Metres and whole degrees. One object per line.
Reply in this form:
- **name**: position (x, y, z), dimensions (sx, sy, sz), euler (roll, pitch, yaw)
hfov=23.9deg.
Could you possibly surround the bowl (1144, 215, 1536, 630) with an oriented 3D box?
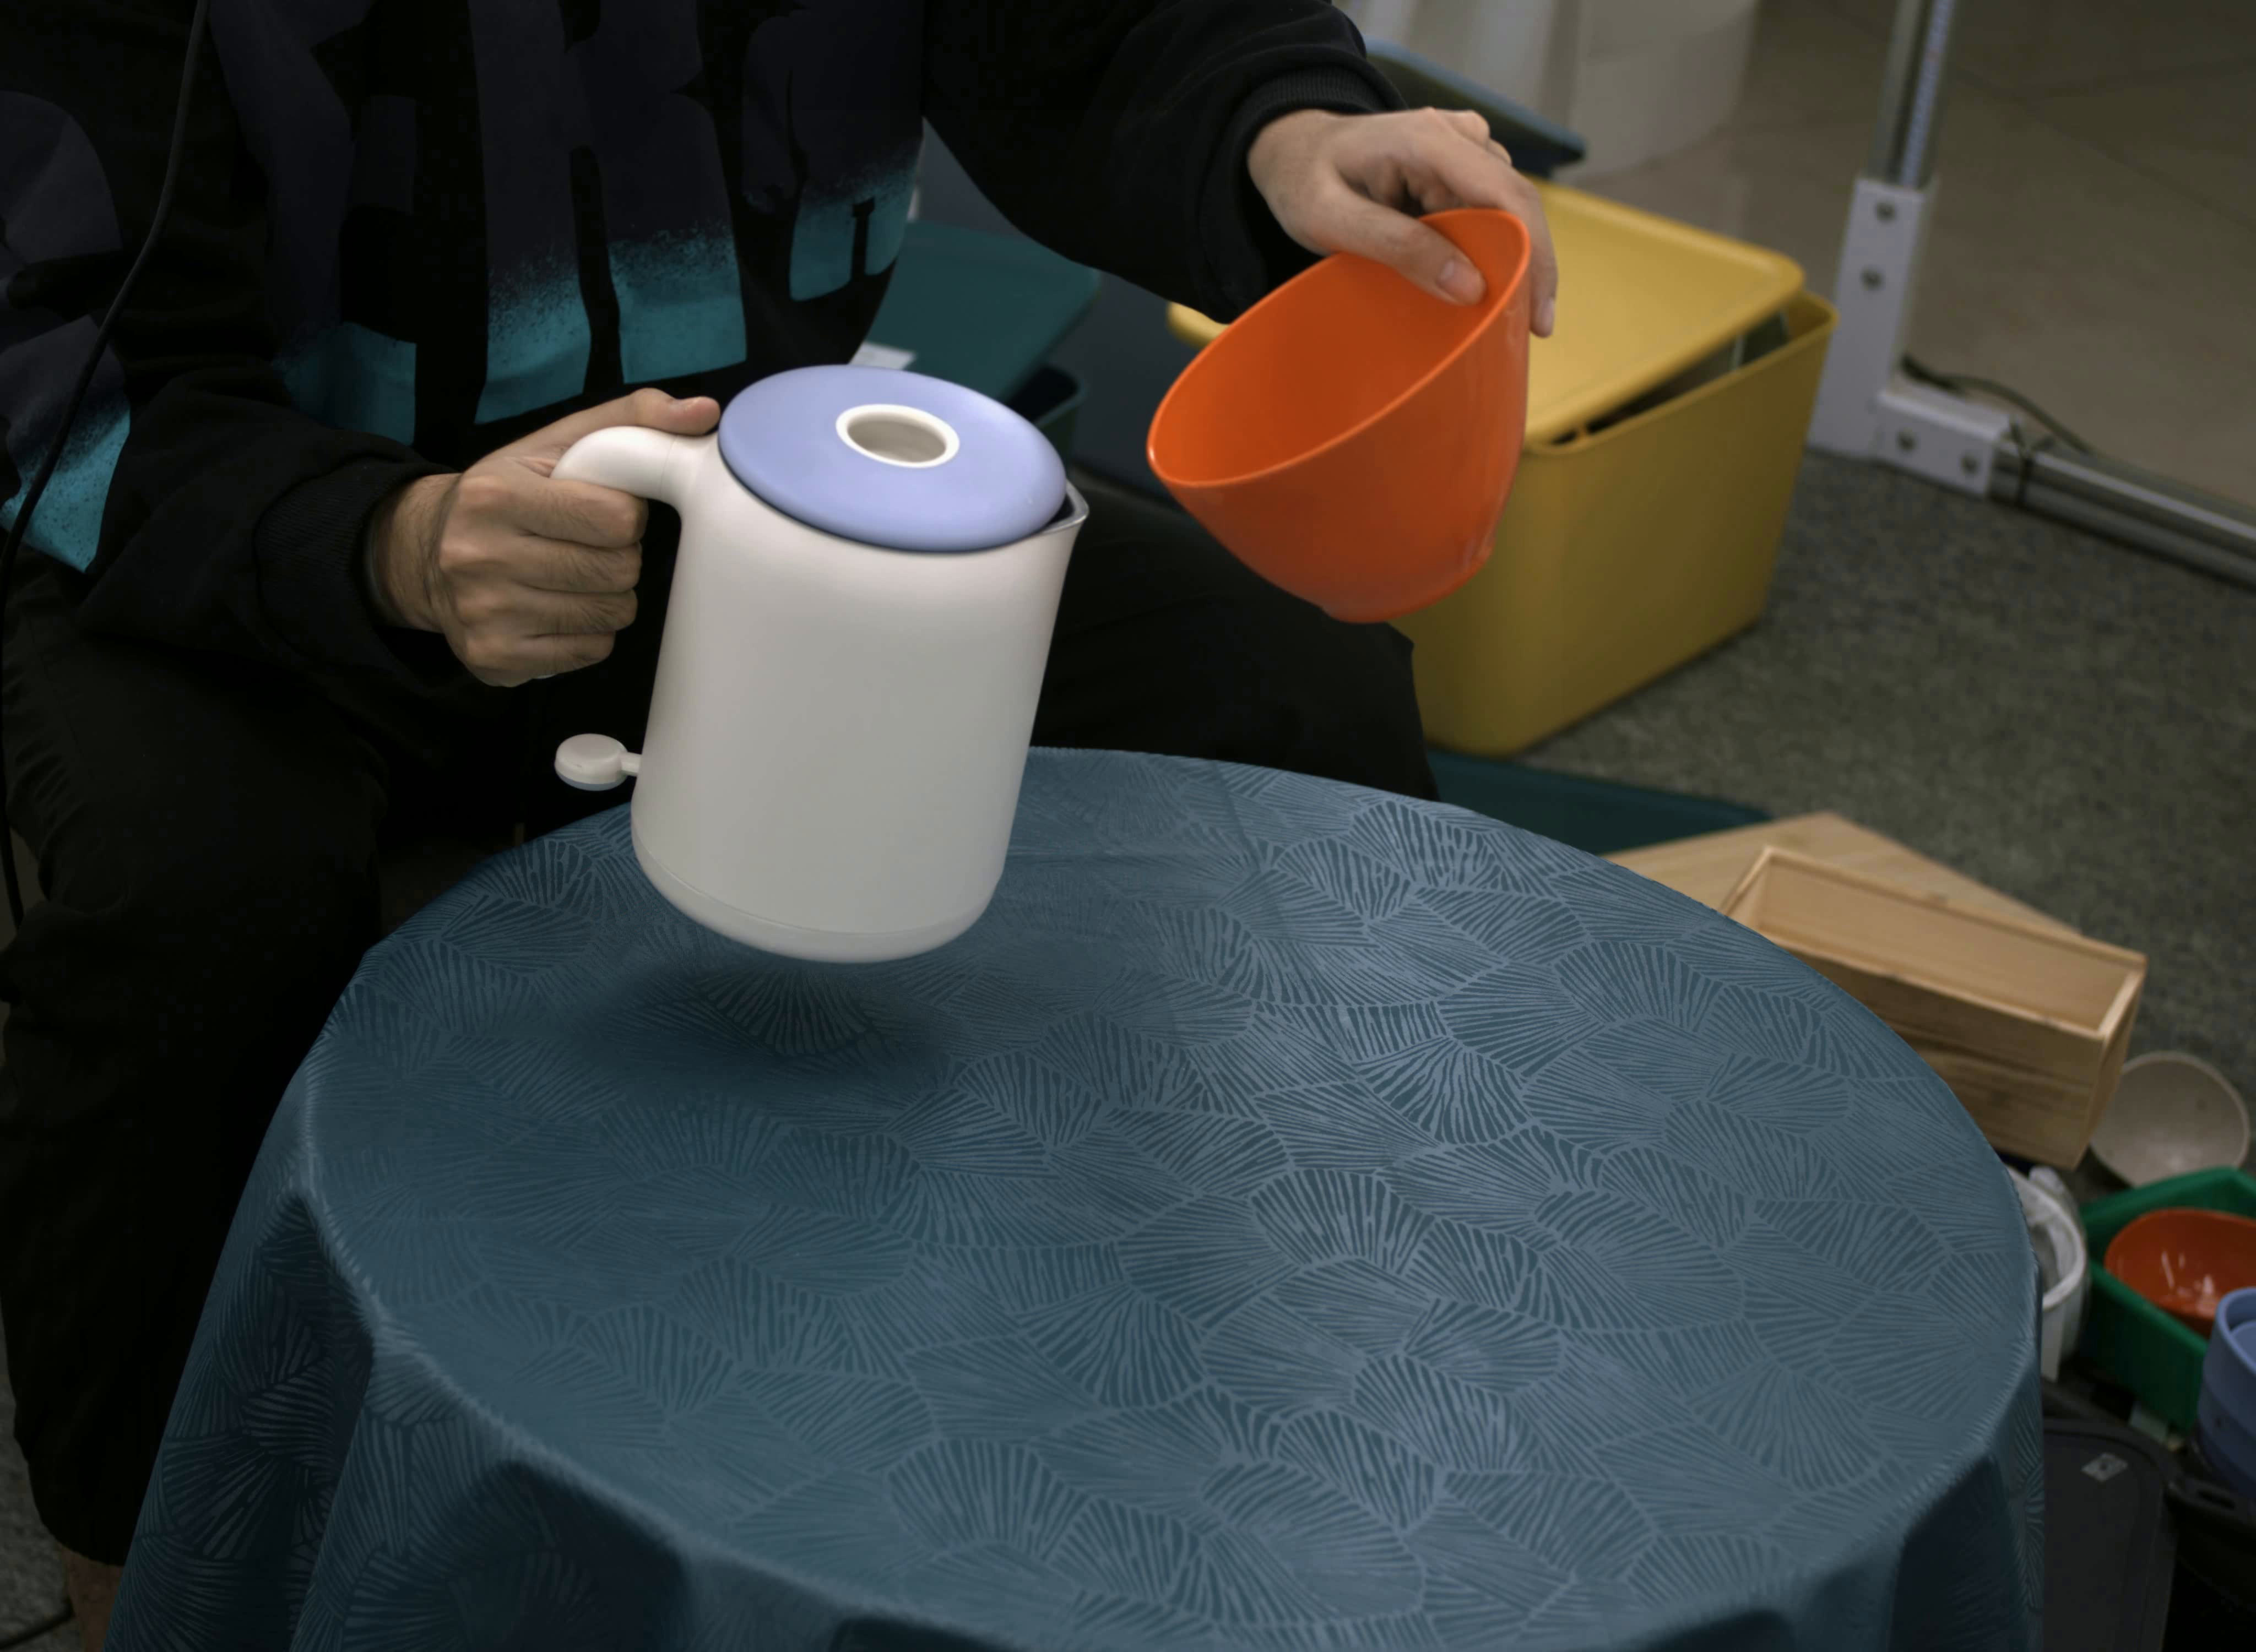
- **bowl**: position (0.084, -0.127, 1.791), dimensions (0.148, 0.104, 0.149), euler (-19, 30, 12)

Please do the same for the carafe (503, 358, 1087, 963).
- **carafe**: position (-0.118, -0.062, 1.822), dimensions (0.191, 0.182, 0.133), euler (11, 31, 3)
